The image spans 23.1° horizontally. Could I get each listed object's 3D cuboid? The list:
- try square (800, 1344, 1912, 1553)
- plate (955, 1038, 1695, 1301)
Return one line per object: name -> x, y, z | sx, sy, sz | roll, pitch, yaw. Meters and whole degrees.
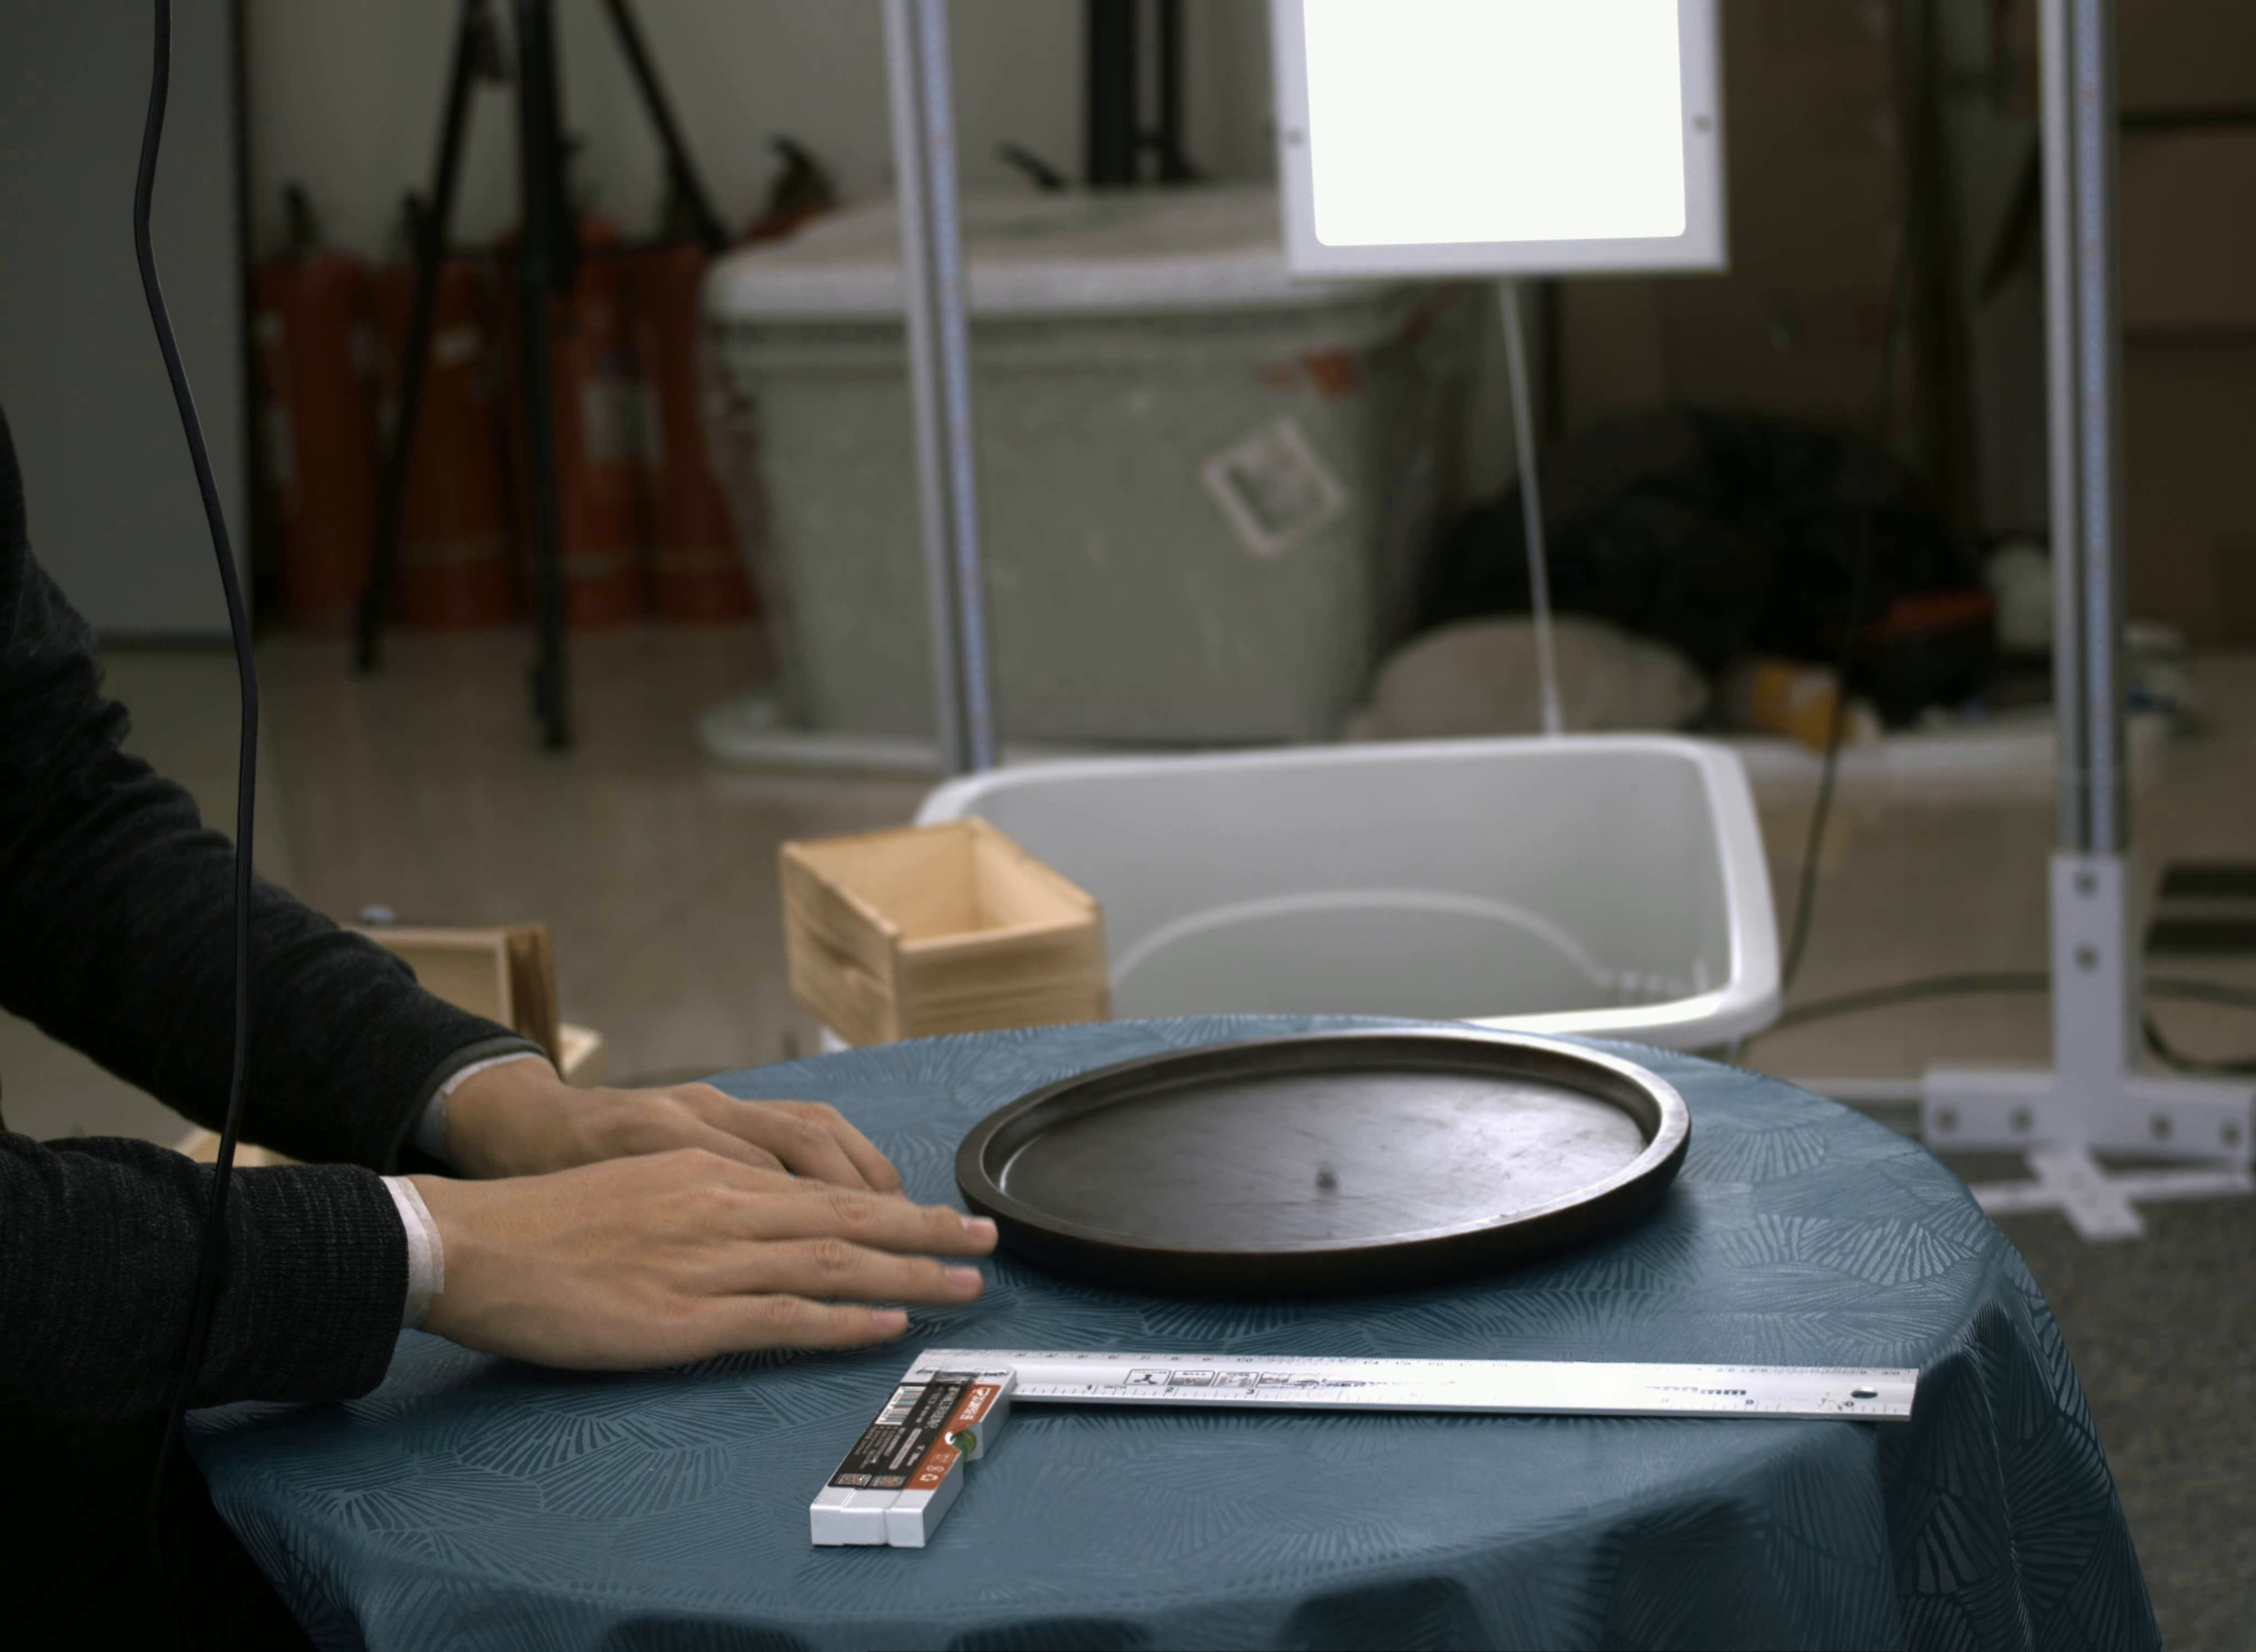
try square -> 0.071, 0.184, 1.625 | 0.316, 0.016, 0.150 | 0, 15, 15
plate -> 0.067, 0.114, 1.875 | 0.254, 0.029, 0.254 | -4, 14, 0
